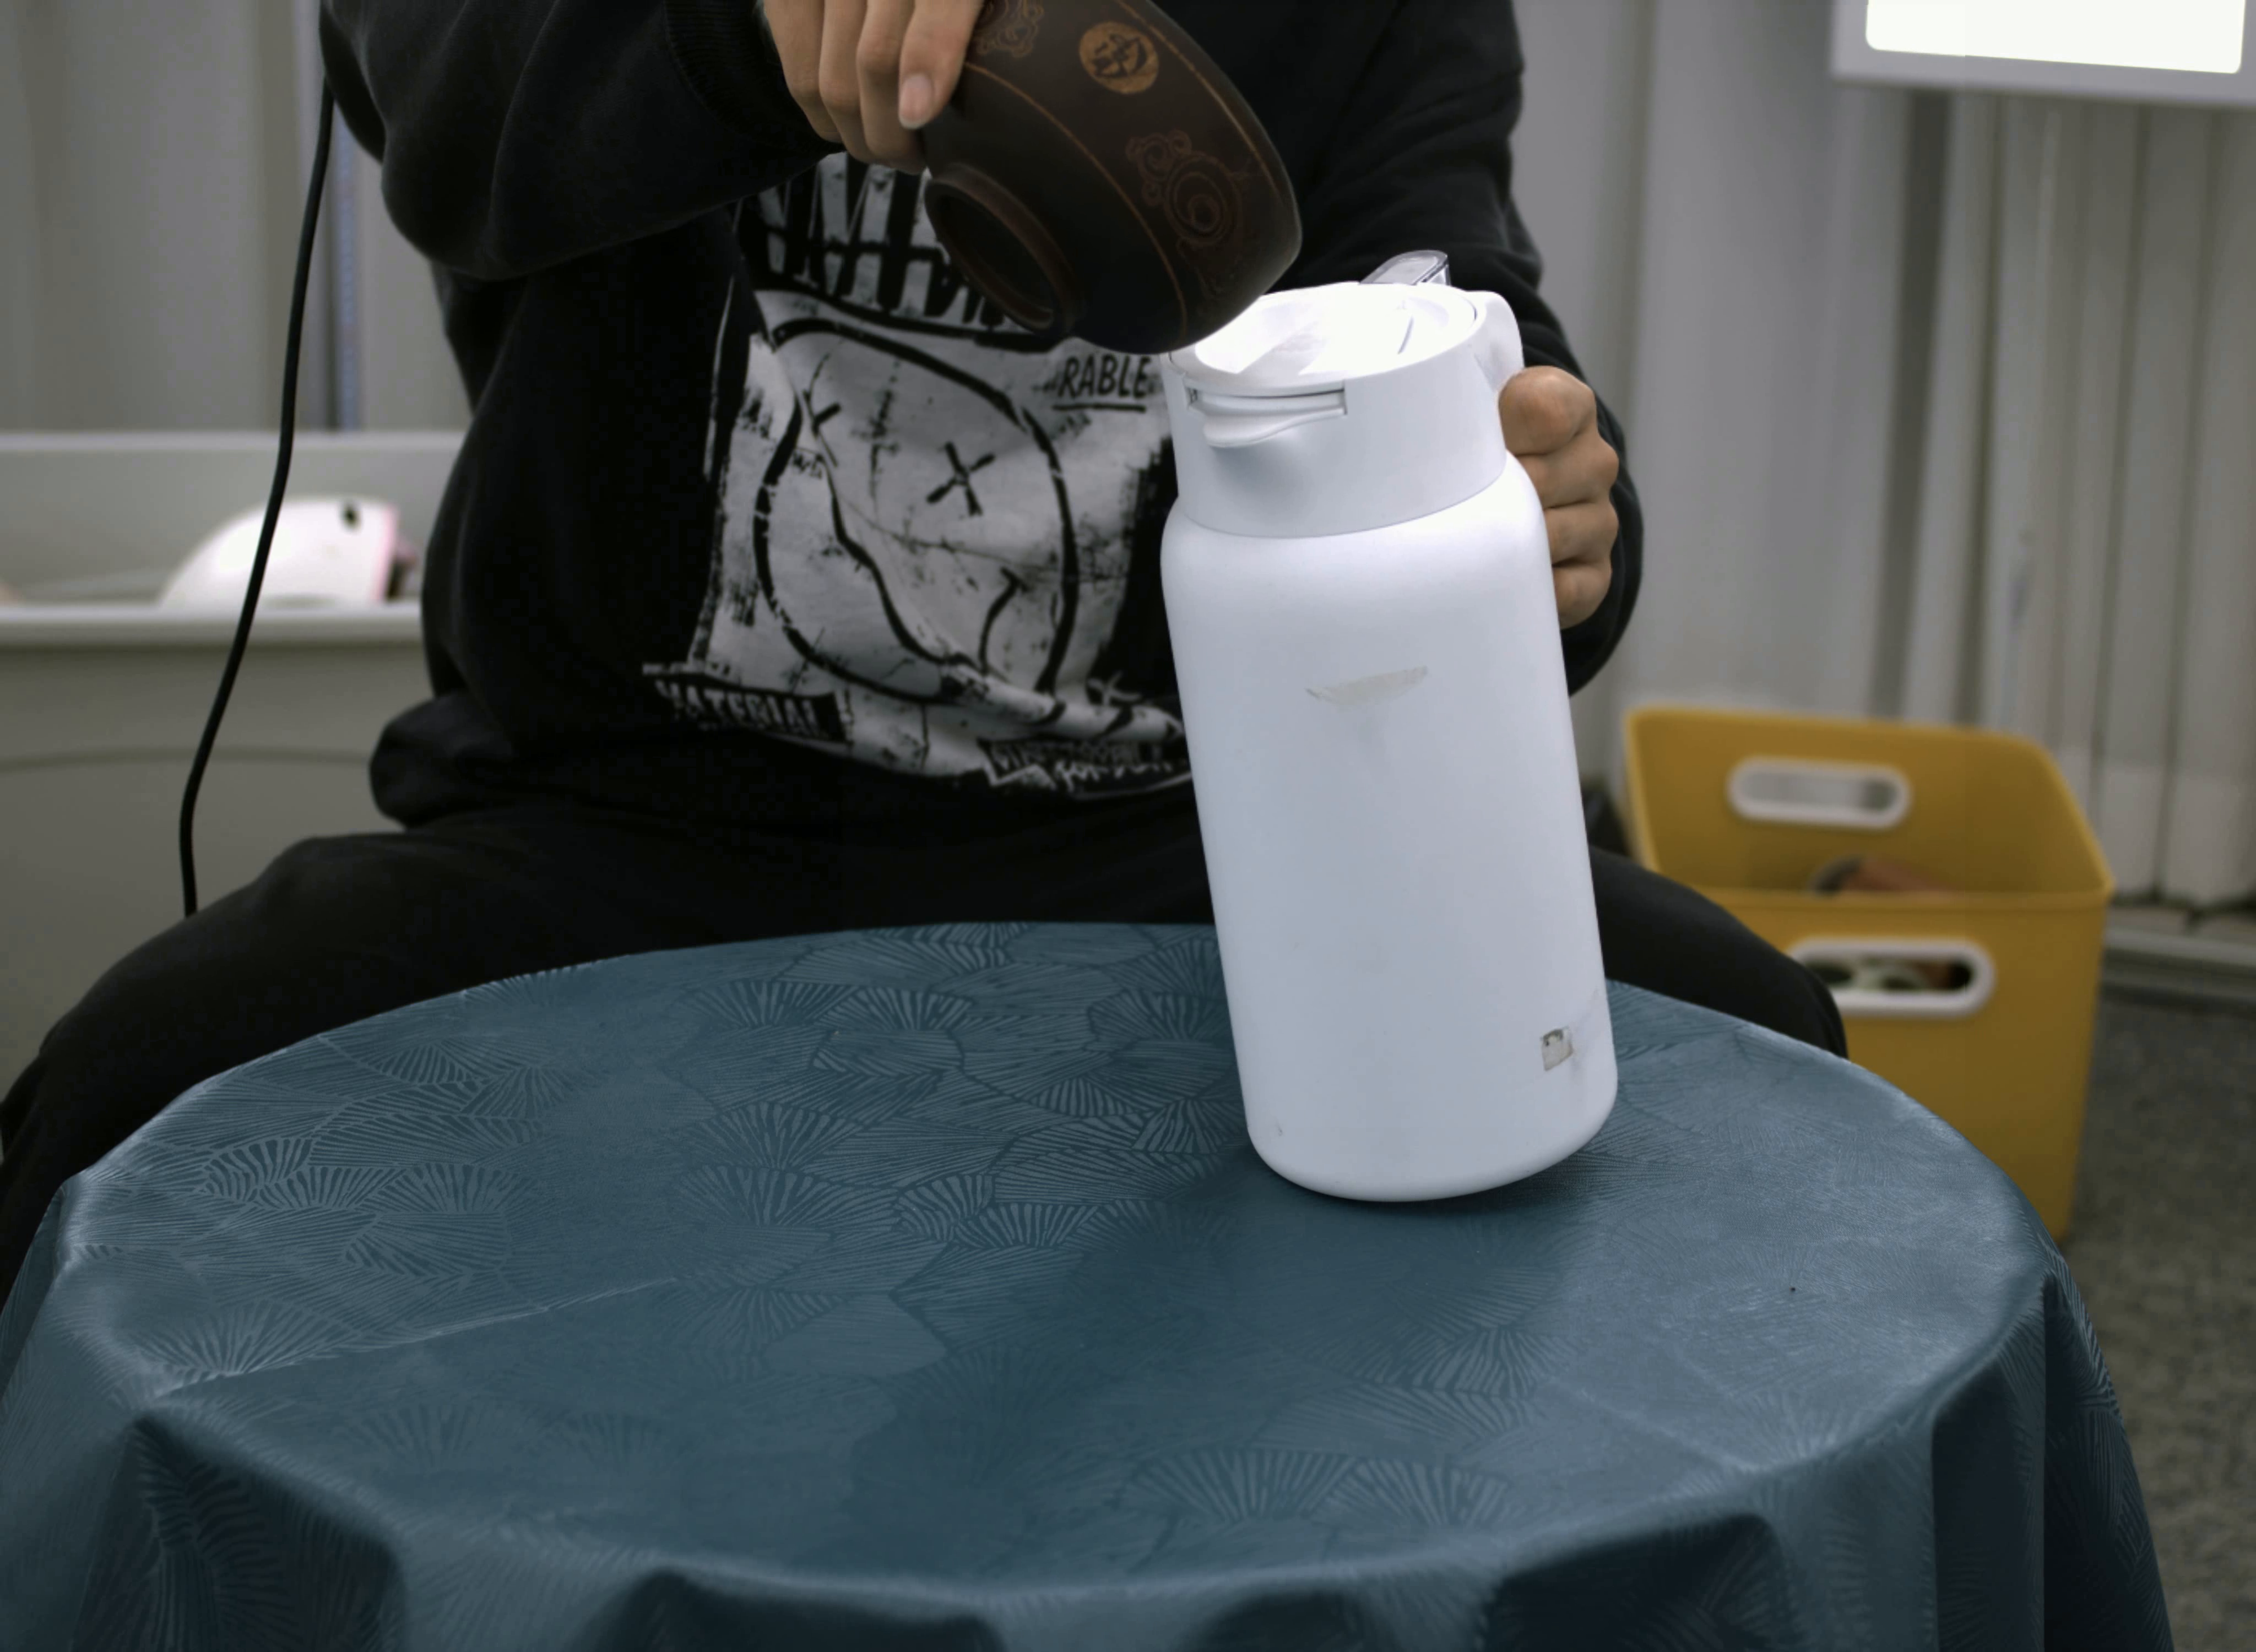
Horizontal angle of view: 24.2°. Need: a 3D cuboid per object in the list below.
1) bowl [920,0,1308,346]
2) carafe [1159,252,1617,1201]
[{"bbox_3d":[-0.013,-0.185,1.493,0.070,0.119,0.116,-44,34,-18],"label":"bowl"},{"bbox_3d":[0.083,-0.034,1.617,0.122,0.272,0.173,1,25,28],"label":"carafe"}]
